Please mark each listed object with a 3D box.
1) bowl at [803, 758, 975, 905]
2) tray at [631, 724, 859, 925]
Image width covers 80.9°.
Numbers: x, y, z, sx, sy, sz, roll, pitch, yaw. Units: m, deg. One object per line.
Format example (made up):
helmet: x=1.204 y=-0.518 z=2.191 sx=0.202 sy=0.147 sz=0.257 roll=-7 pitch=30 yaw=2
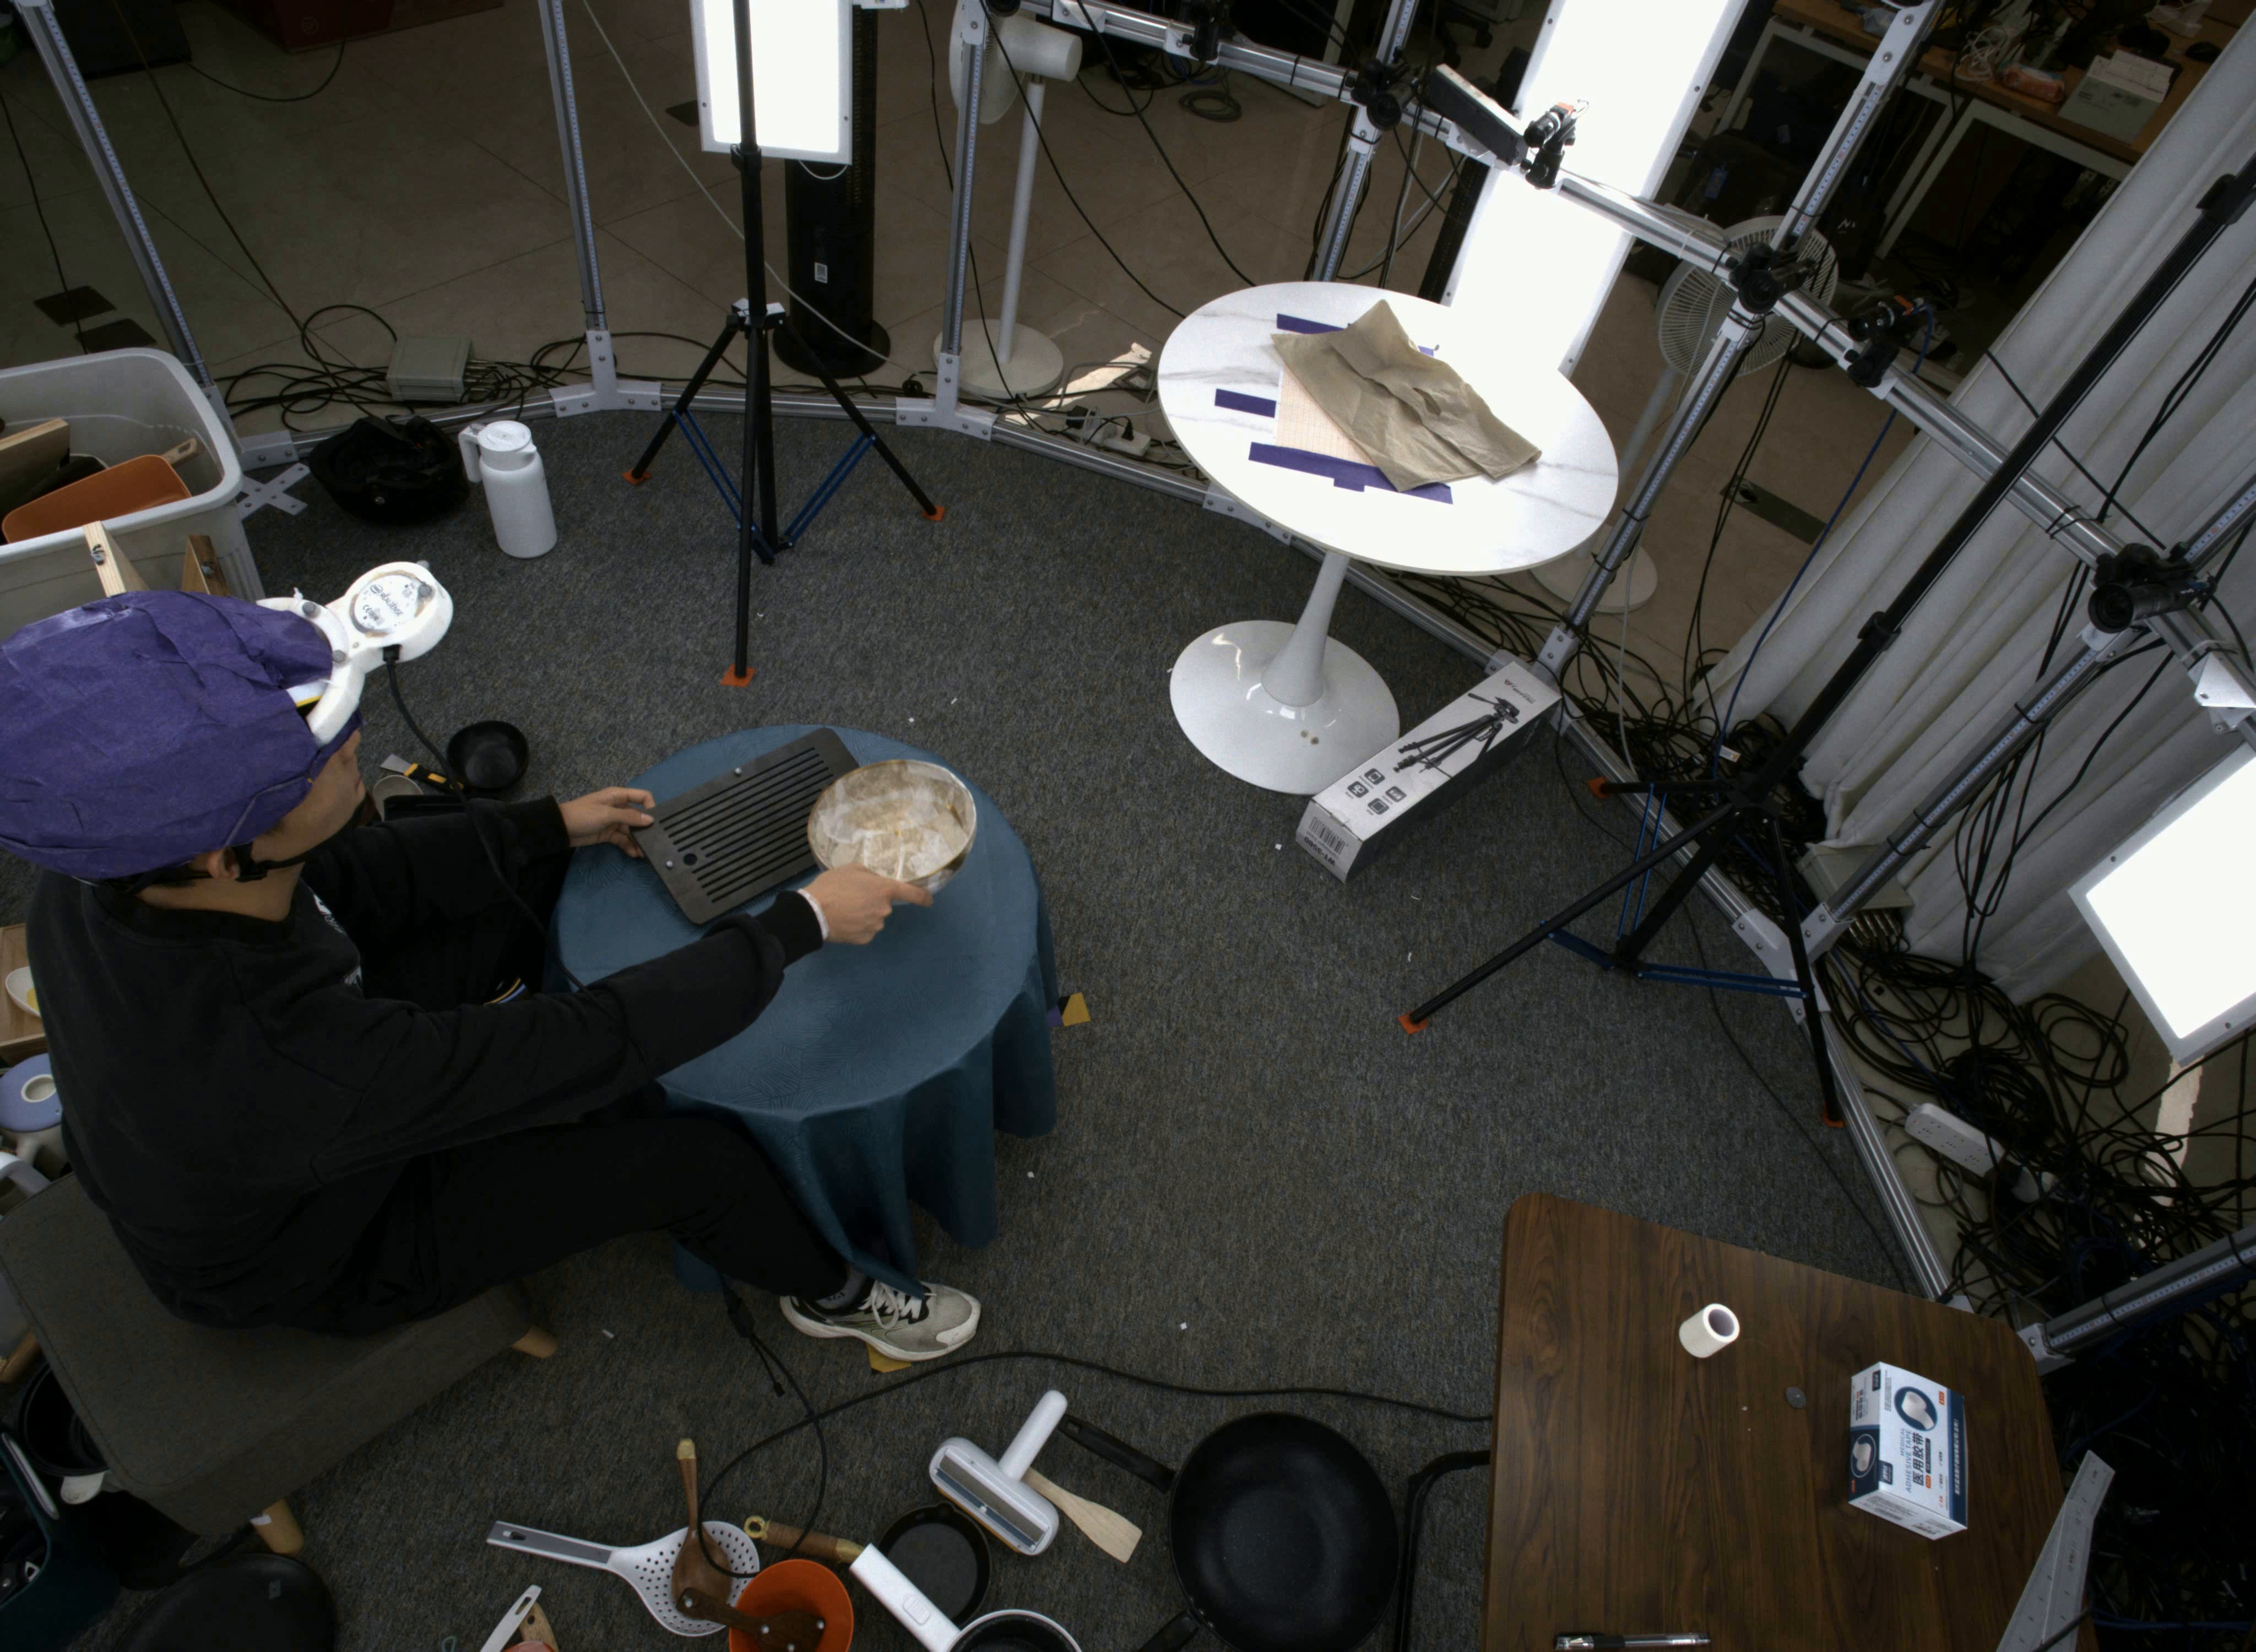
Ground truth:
bowl: x=-0.289 y=0.021 z=1.593 sx=0.212 sy=0.097 sz=0.211 roll=2 pitch=51 yaw=-1
tray: x=-0.475 y=-0.007 z=1.688 sx=0.307 sy=0.019 sz=0.169 roll=-31 pitch=80 yaw=-31
